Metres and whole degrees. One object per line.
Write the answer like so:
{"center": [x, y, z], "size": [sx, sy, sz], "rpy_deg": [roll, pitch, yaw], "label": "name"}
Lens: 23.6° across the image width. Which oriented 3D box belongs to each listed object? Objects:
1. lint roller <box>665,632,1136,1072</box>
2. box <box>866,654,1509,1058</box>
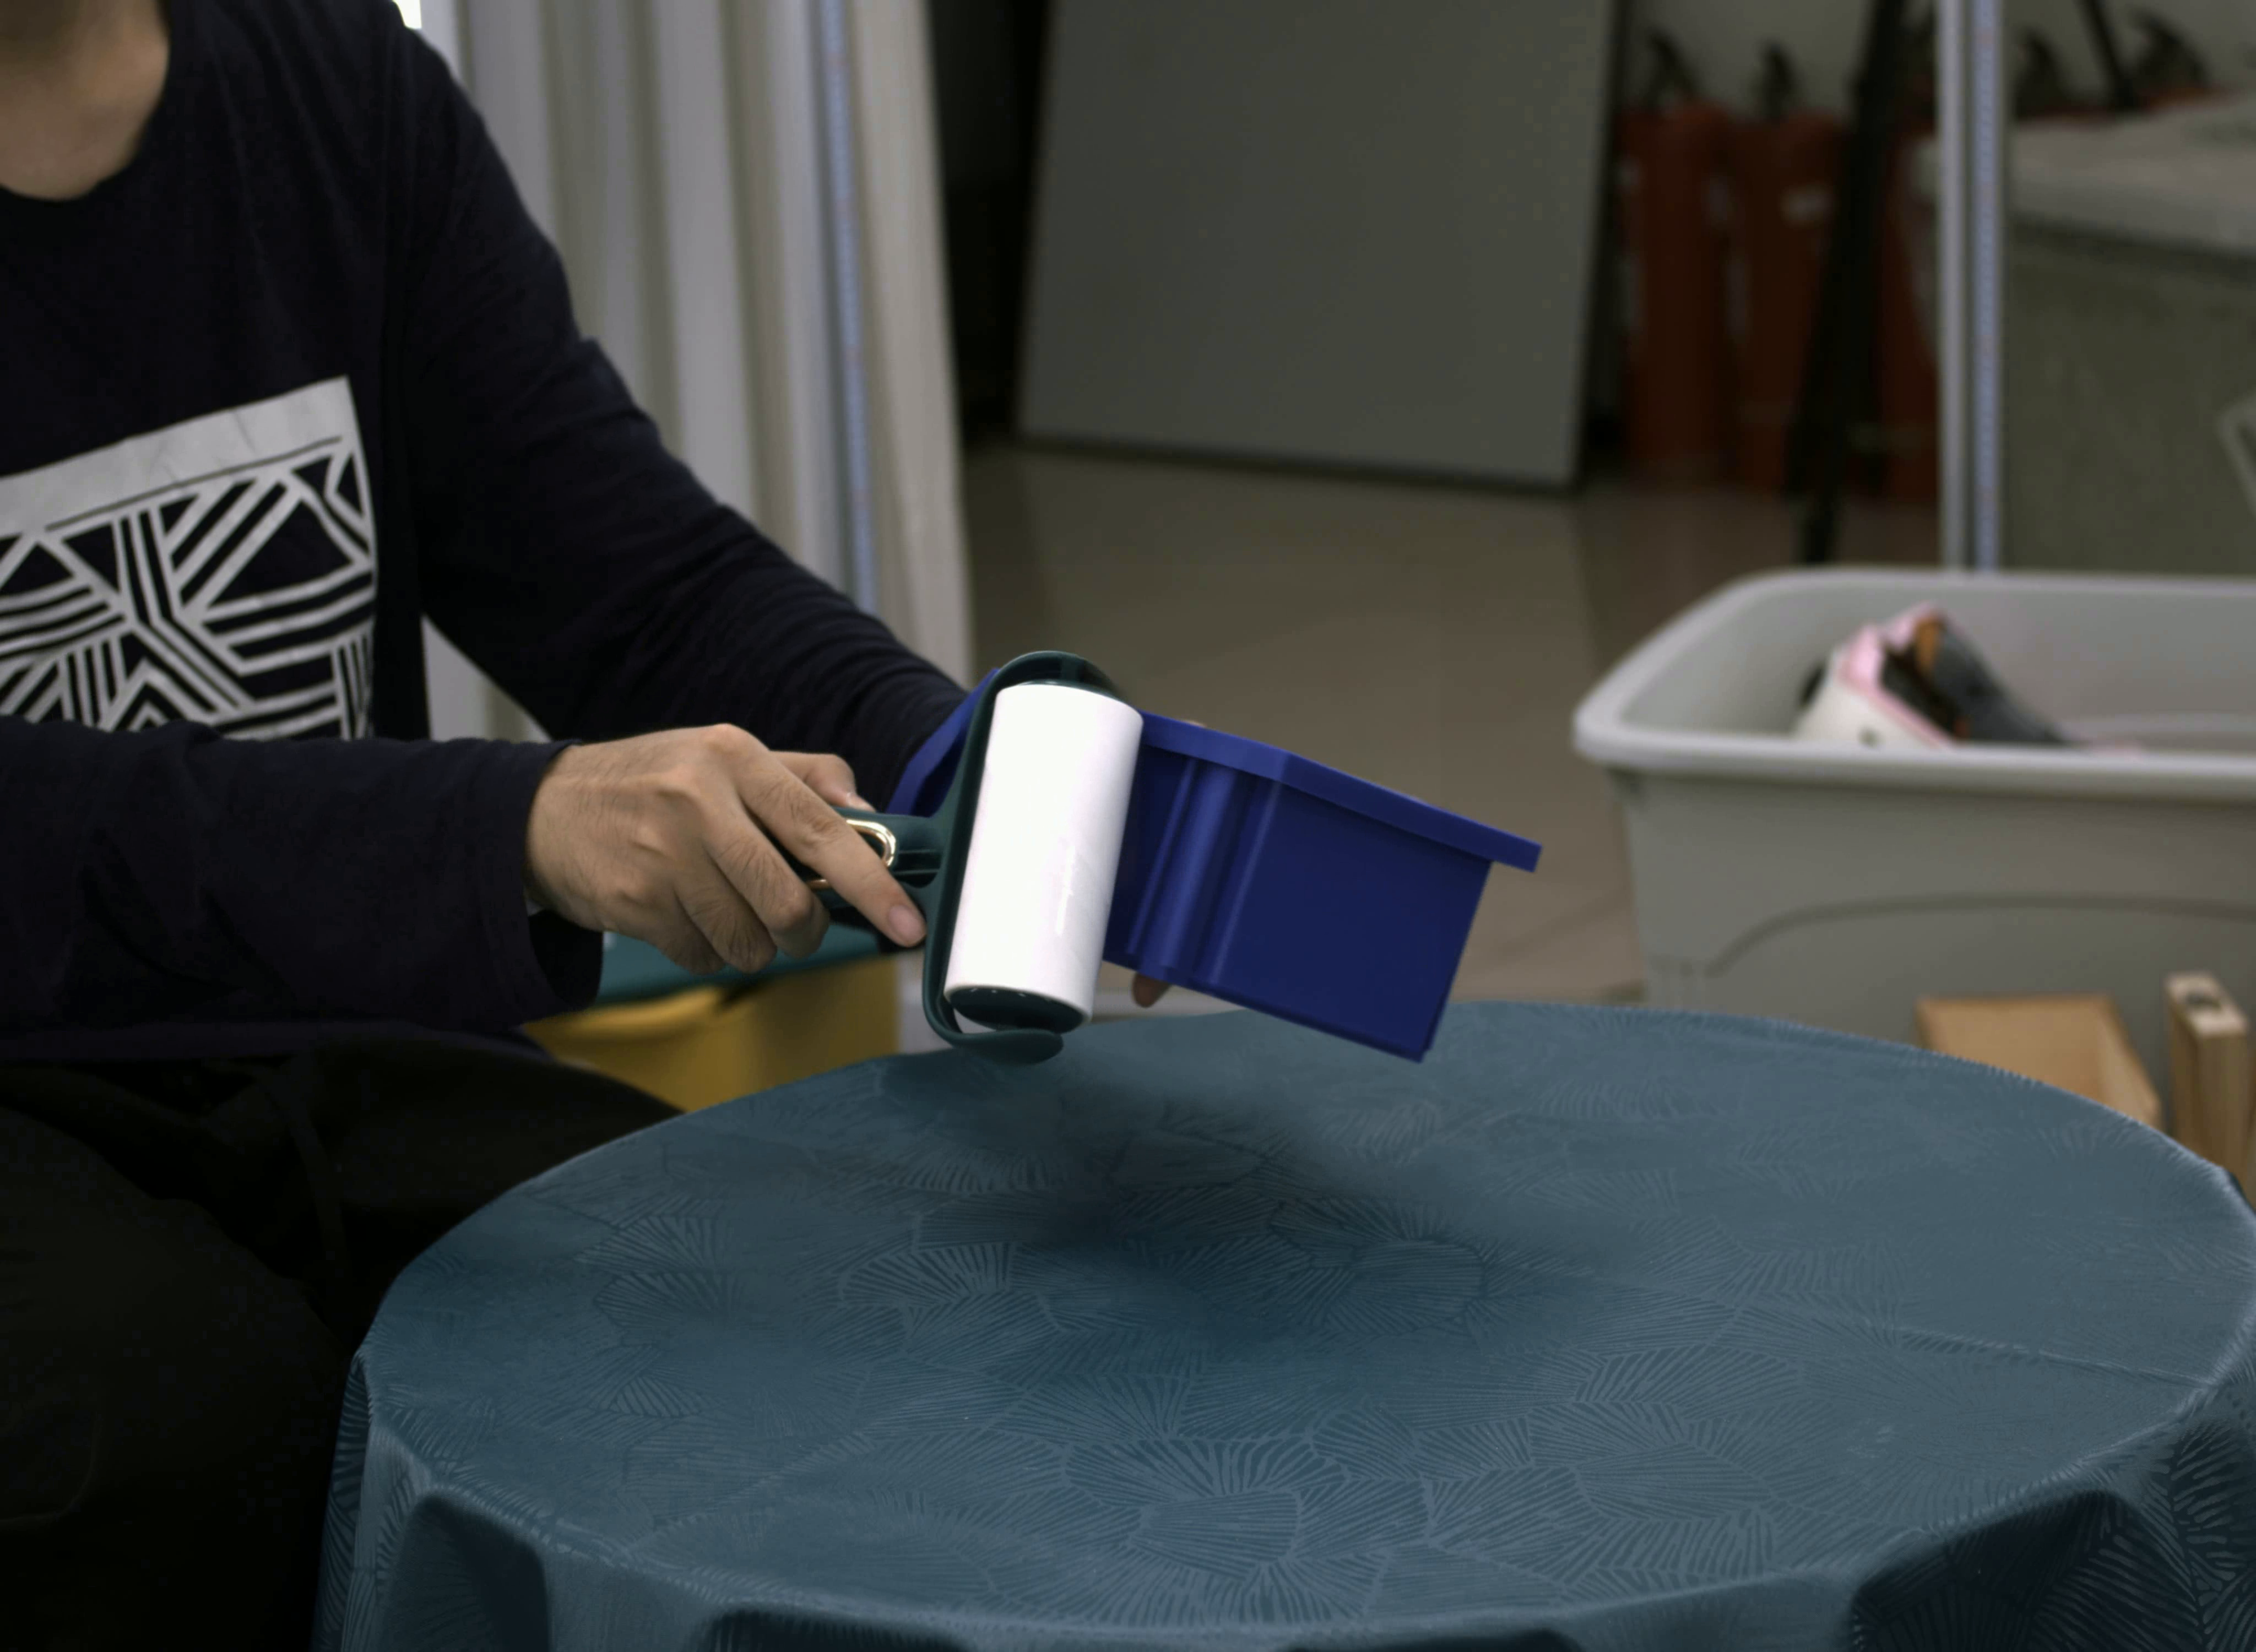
{"center": [-0.084, 0.010, 1.709], "size": [0.181, 0.136, 0.047], "rpy_deg": [-1, -19, 32], "label": "lint roller"}
{"center": [0.013, 0.008, 1.753], "size": [0.122, 0.083, 0.181], "rpy_deg": [18, 1, -38], "label": "box"}
